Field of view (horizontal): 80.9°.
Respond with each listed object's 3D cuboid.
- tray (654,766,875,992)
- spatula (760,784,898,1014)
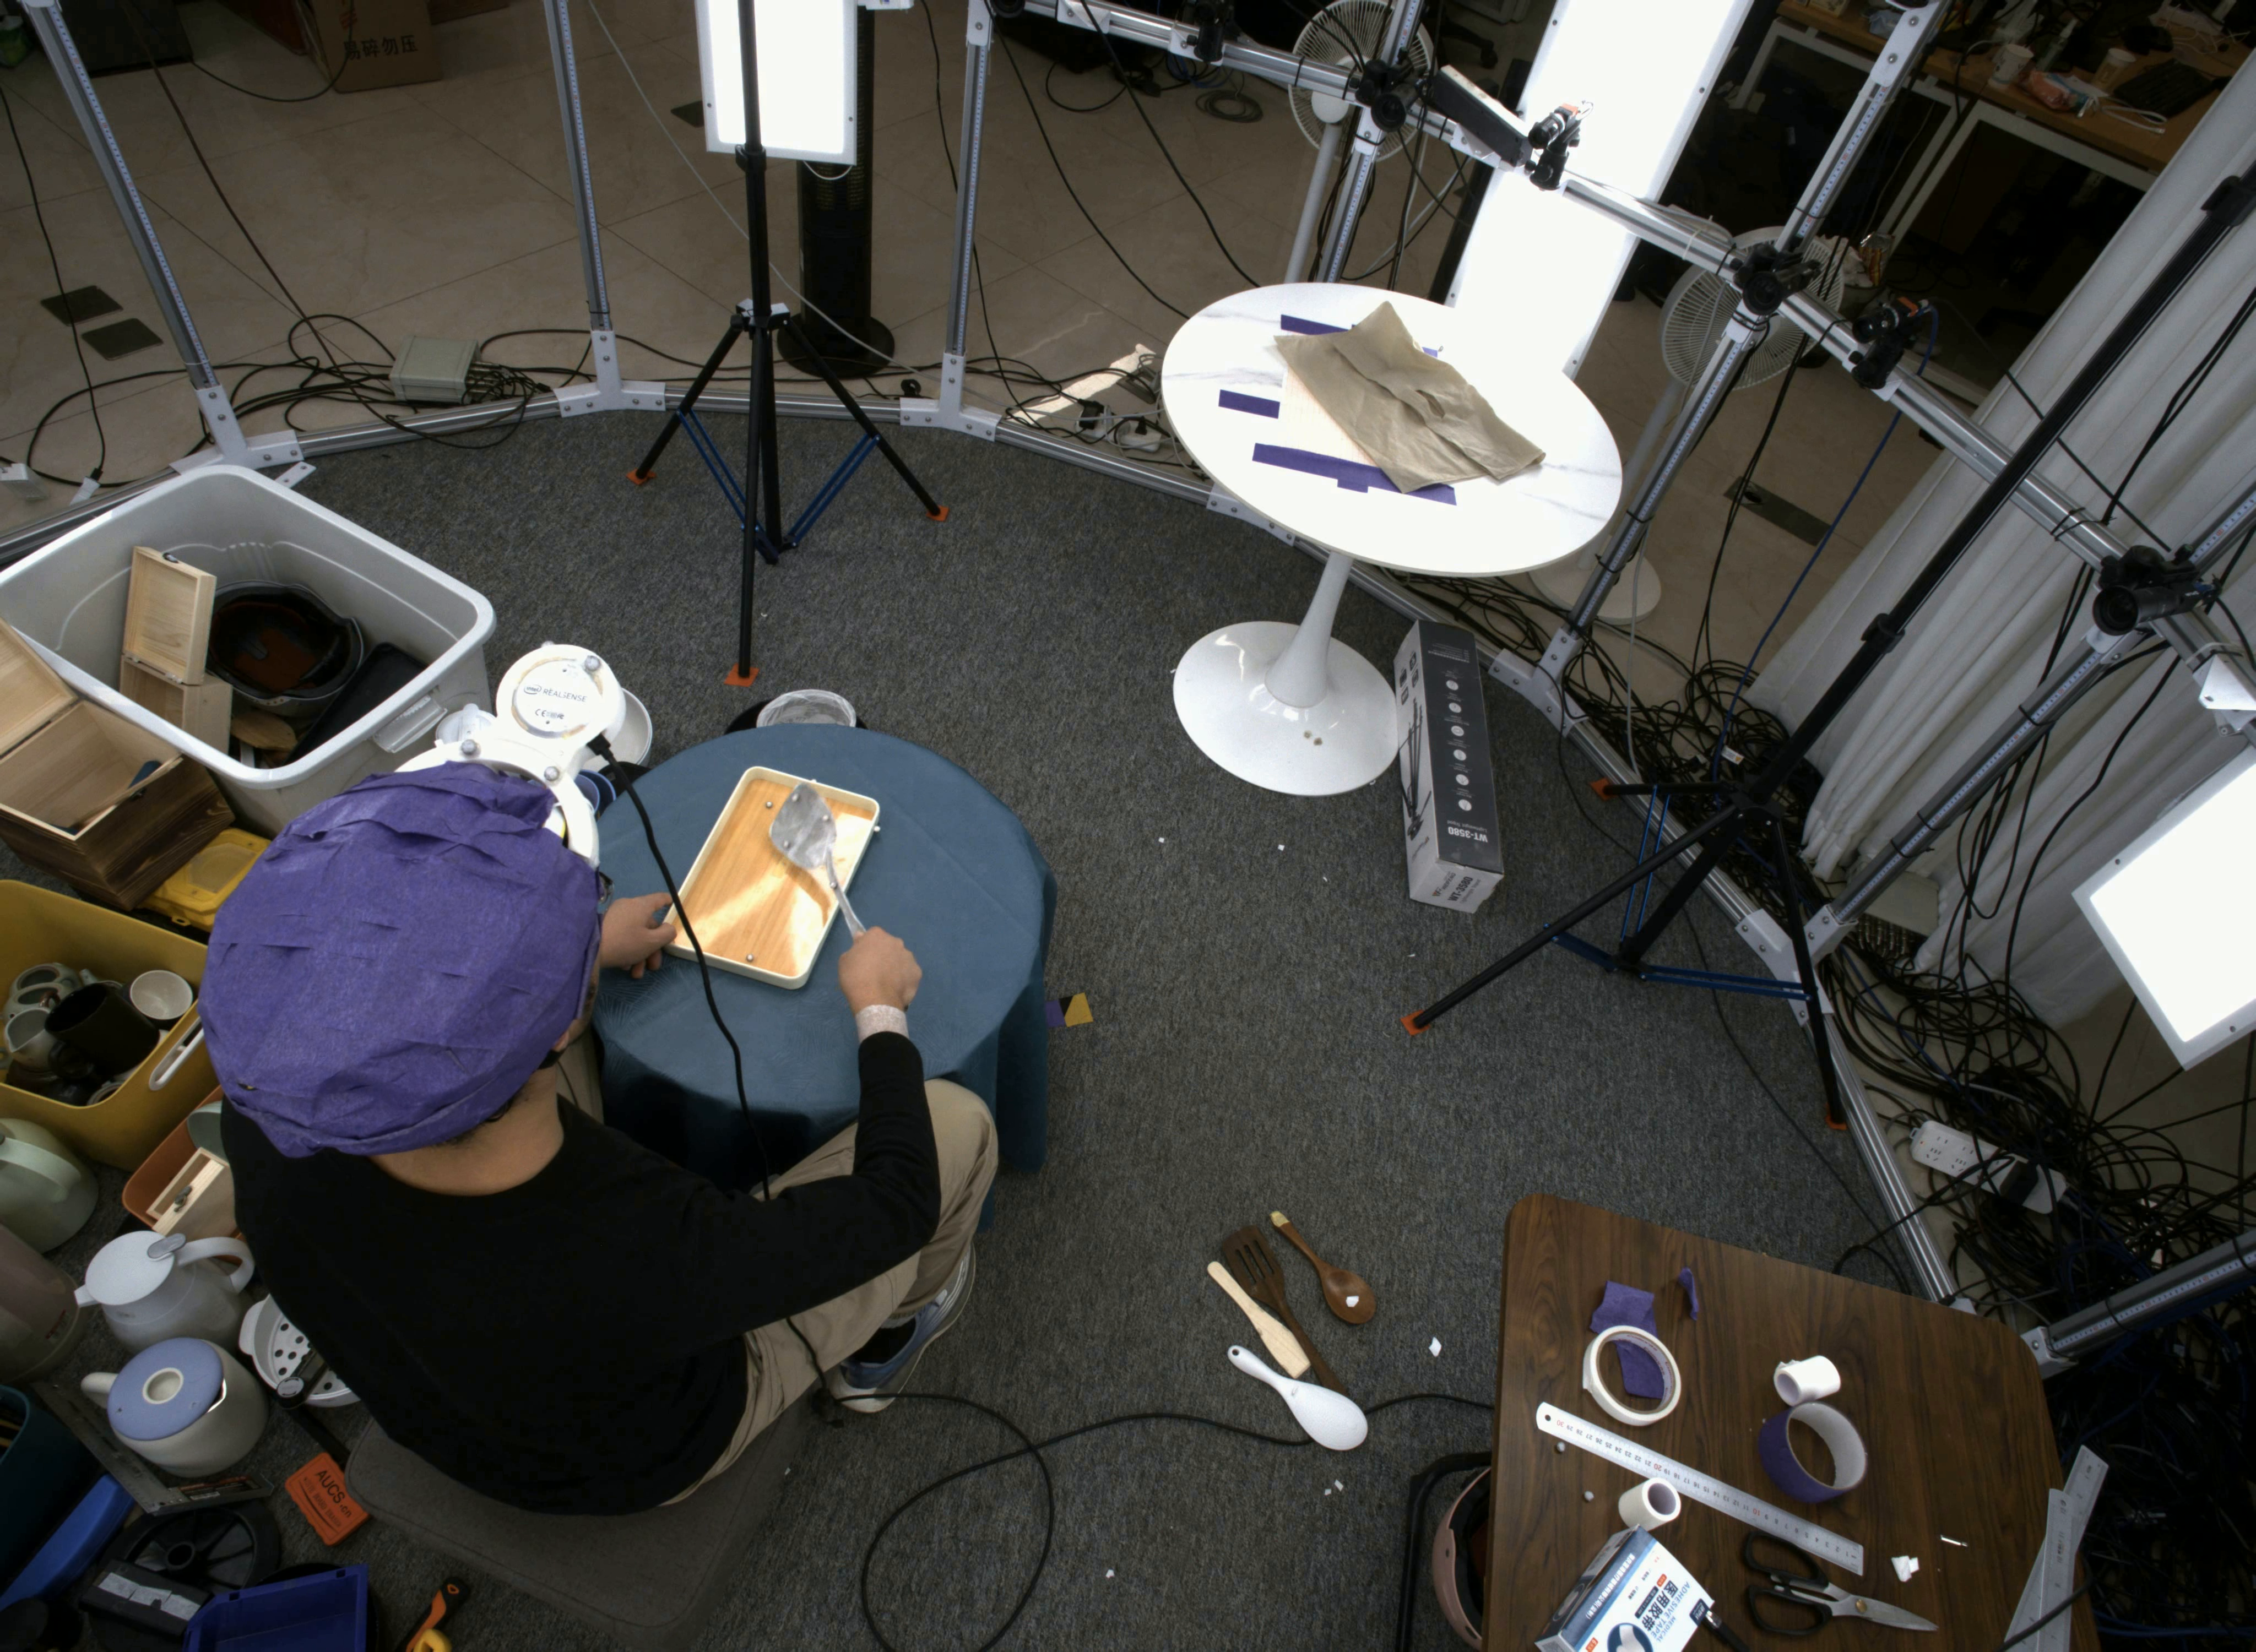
[{"bbox_3d":[-0.457,0.059,1.648,0.190,0.028,0.296,17,52,-2],"label":"tray"},{"bbox_3d":[-0.355,0.088,1.560,0.046,0.099,0.352,15,28,-46],"label":"spatula"}]
